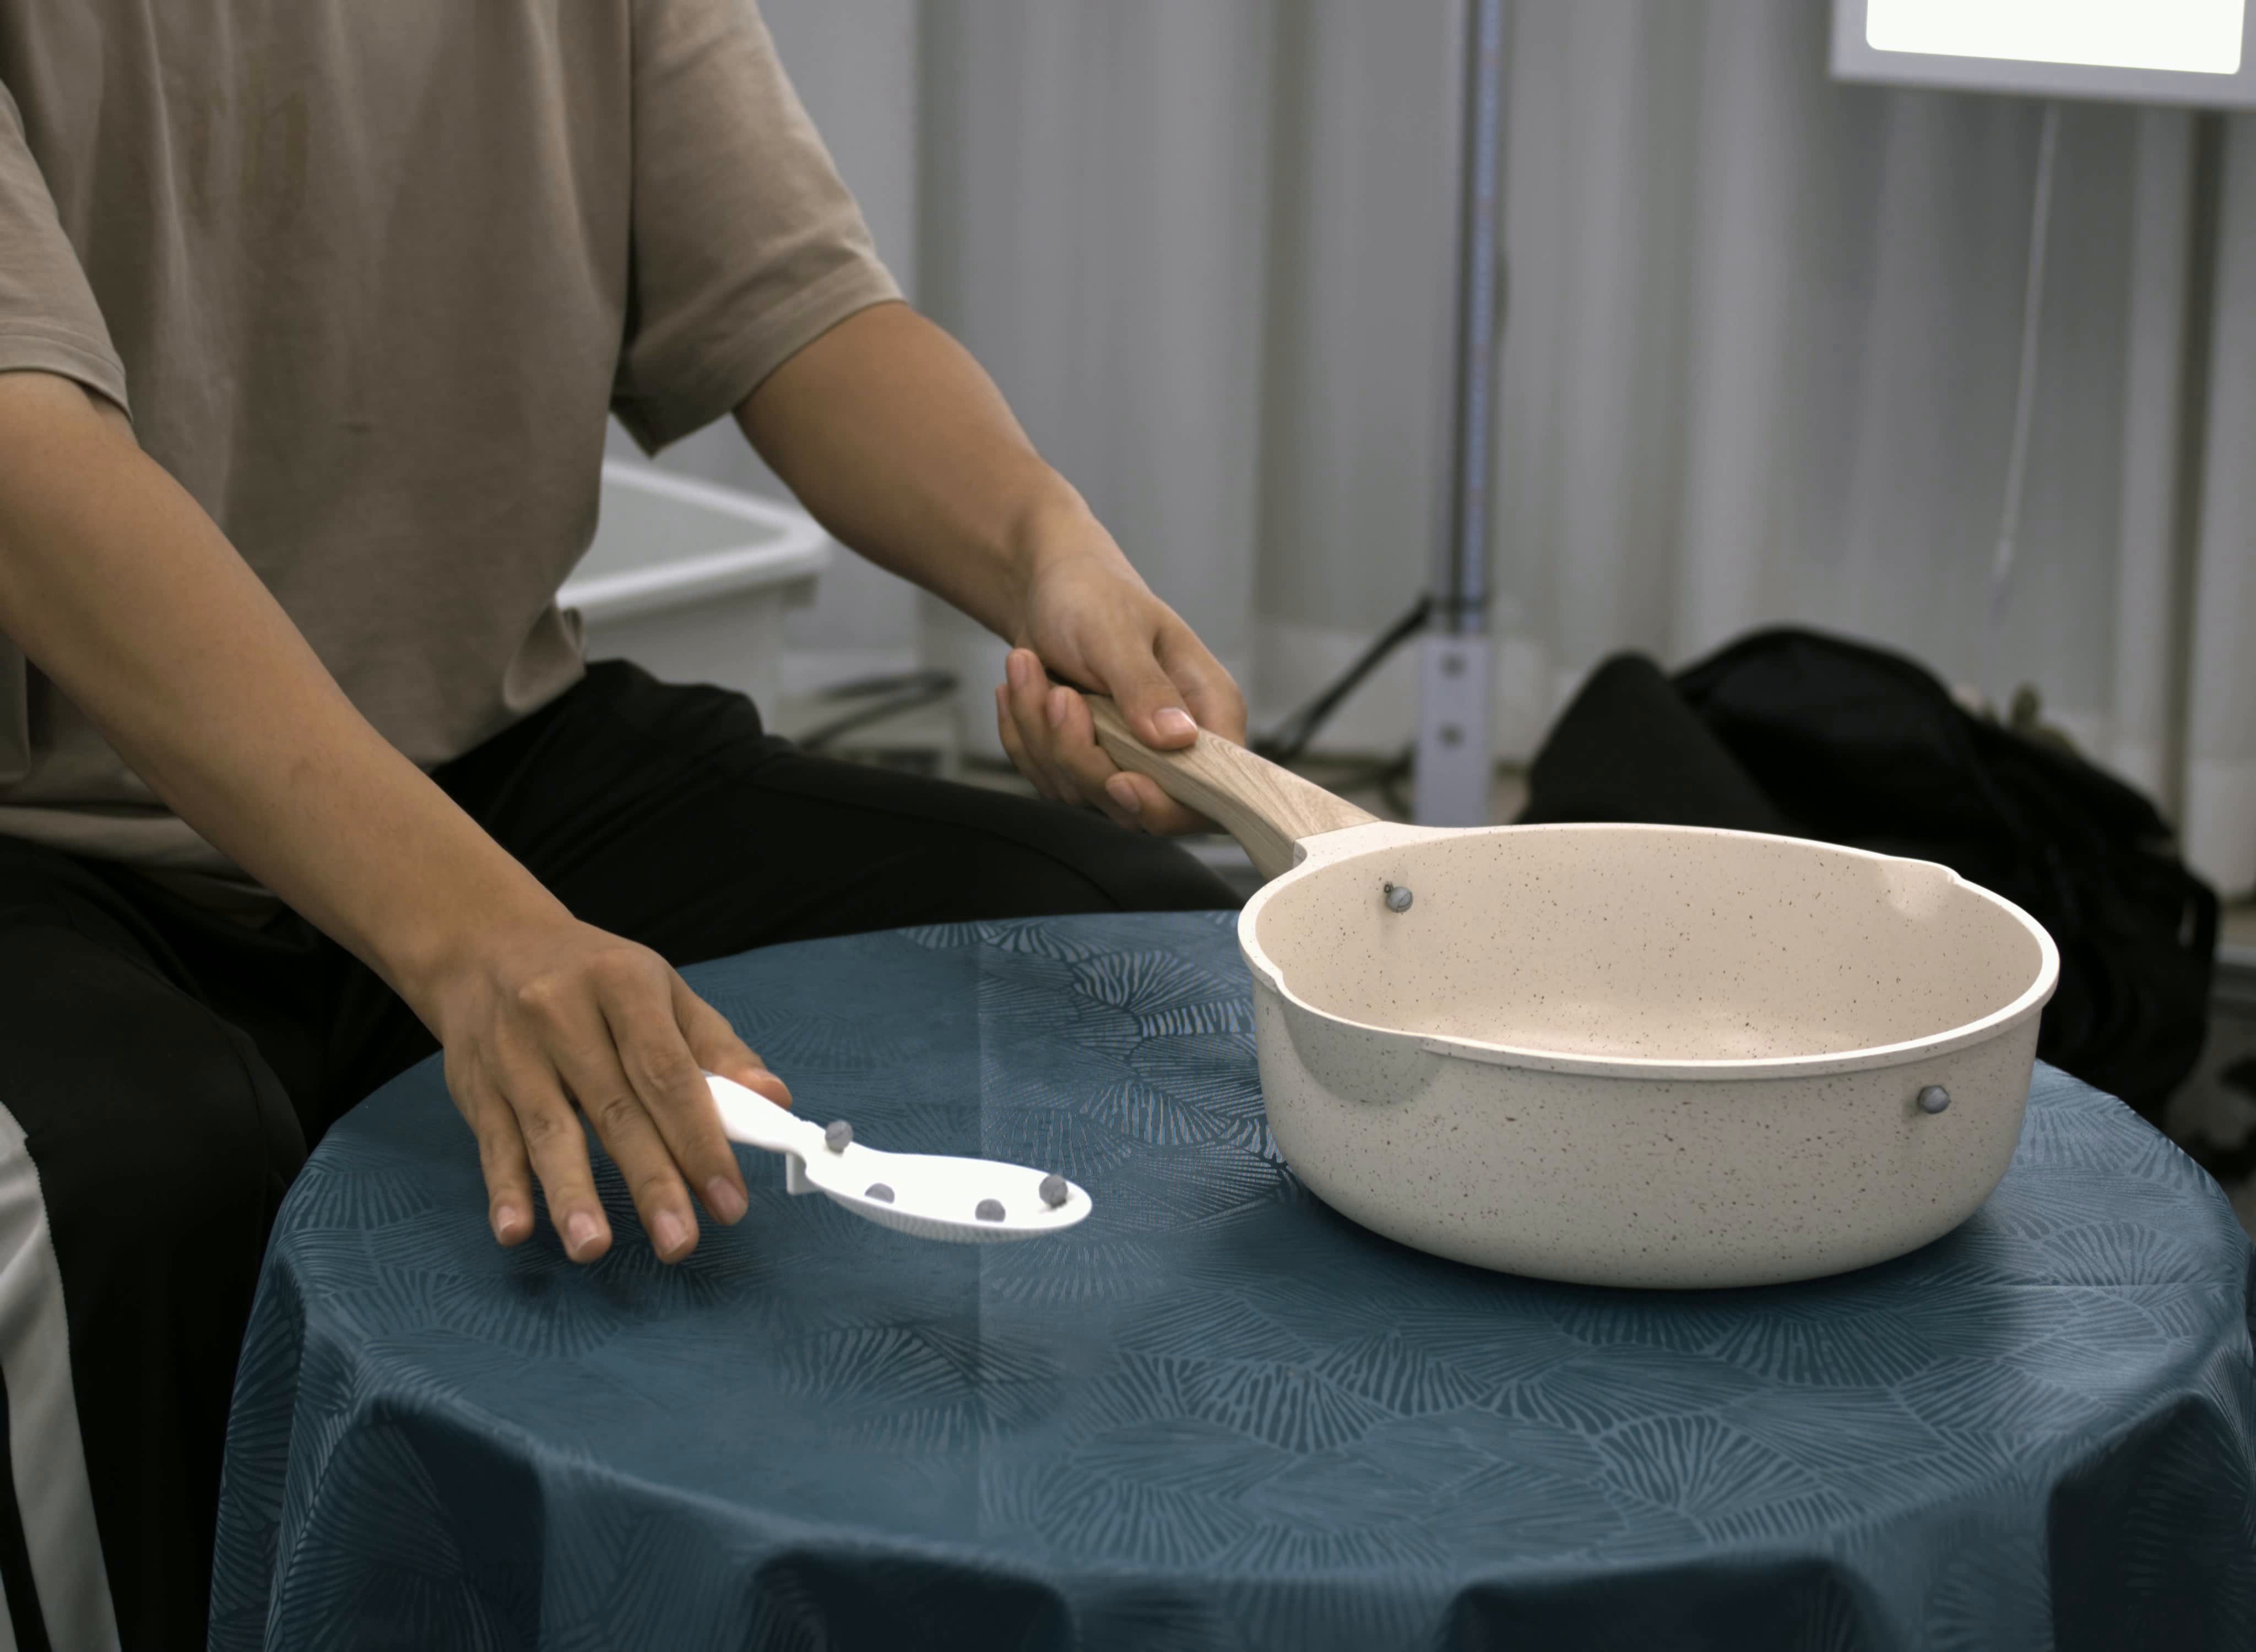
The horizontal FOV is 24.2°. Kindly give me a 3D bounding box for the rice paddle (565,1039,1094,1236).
[{"bbox_3d":[-0.089,0.092,1.523,0.069,0.029,0.202,-7,12,-43],"label":"rice paddle"}]

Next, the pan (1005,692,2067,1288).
[{"bbox_3d":[0.105,0.046,1.696,0.264,0.103,0.429,-15,21,-37],"label":"pan"}]
